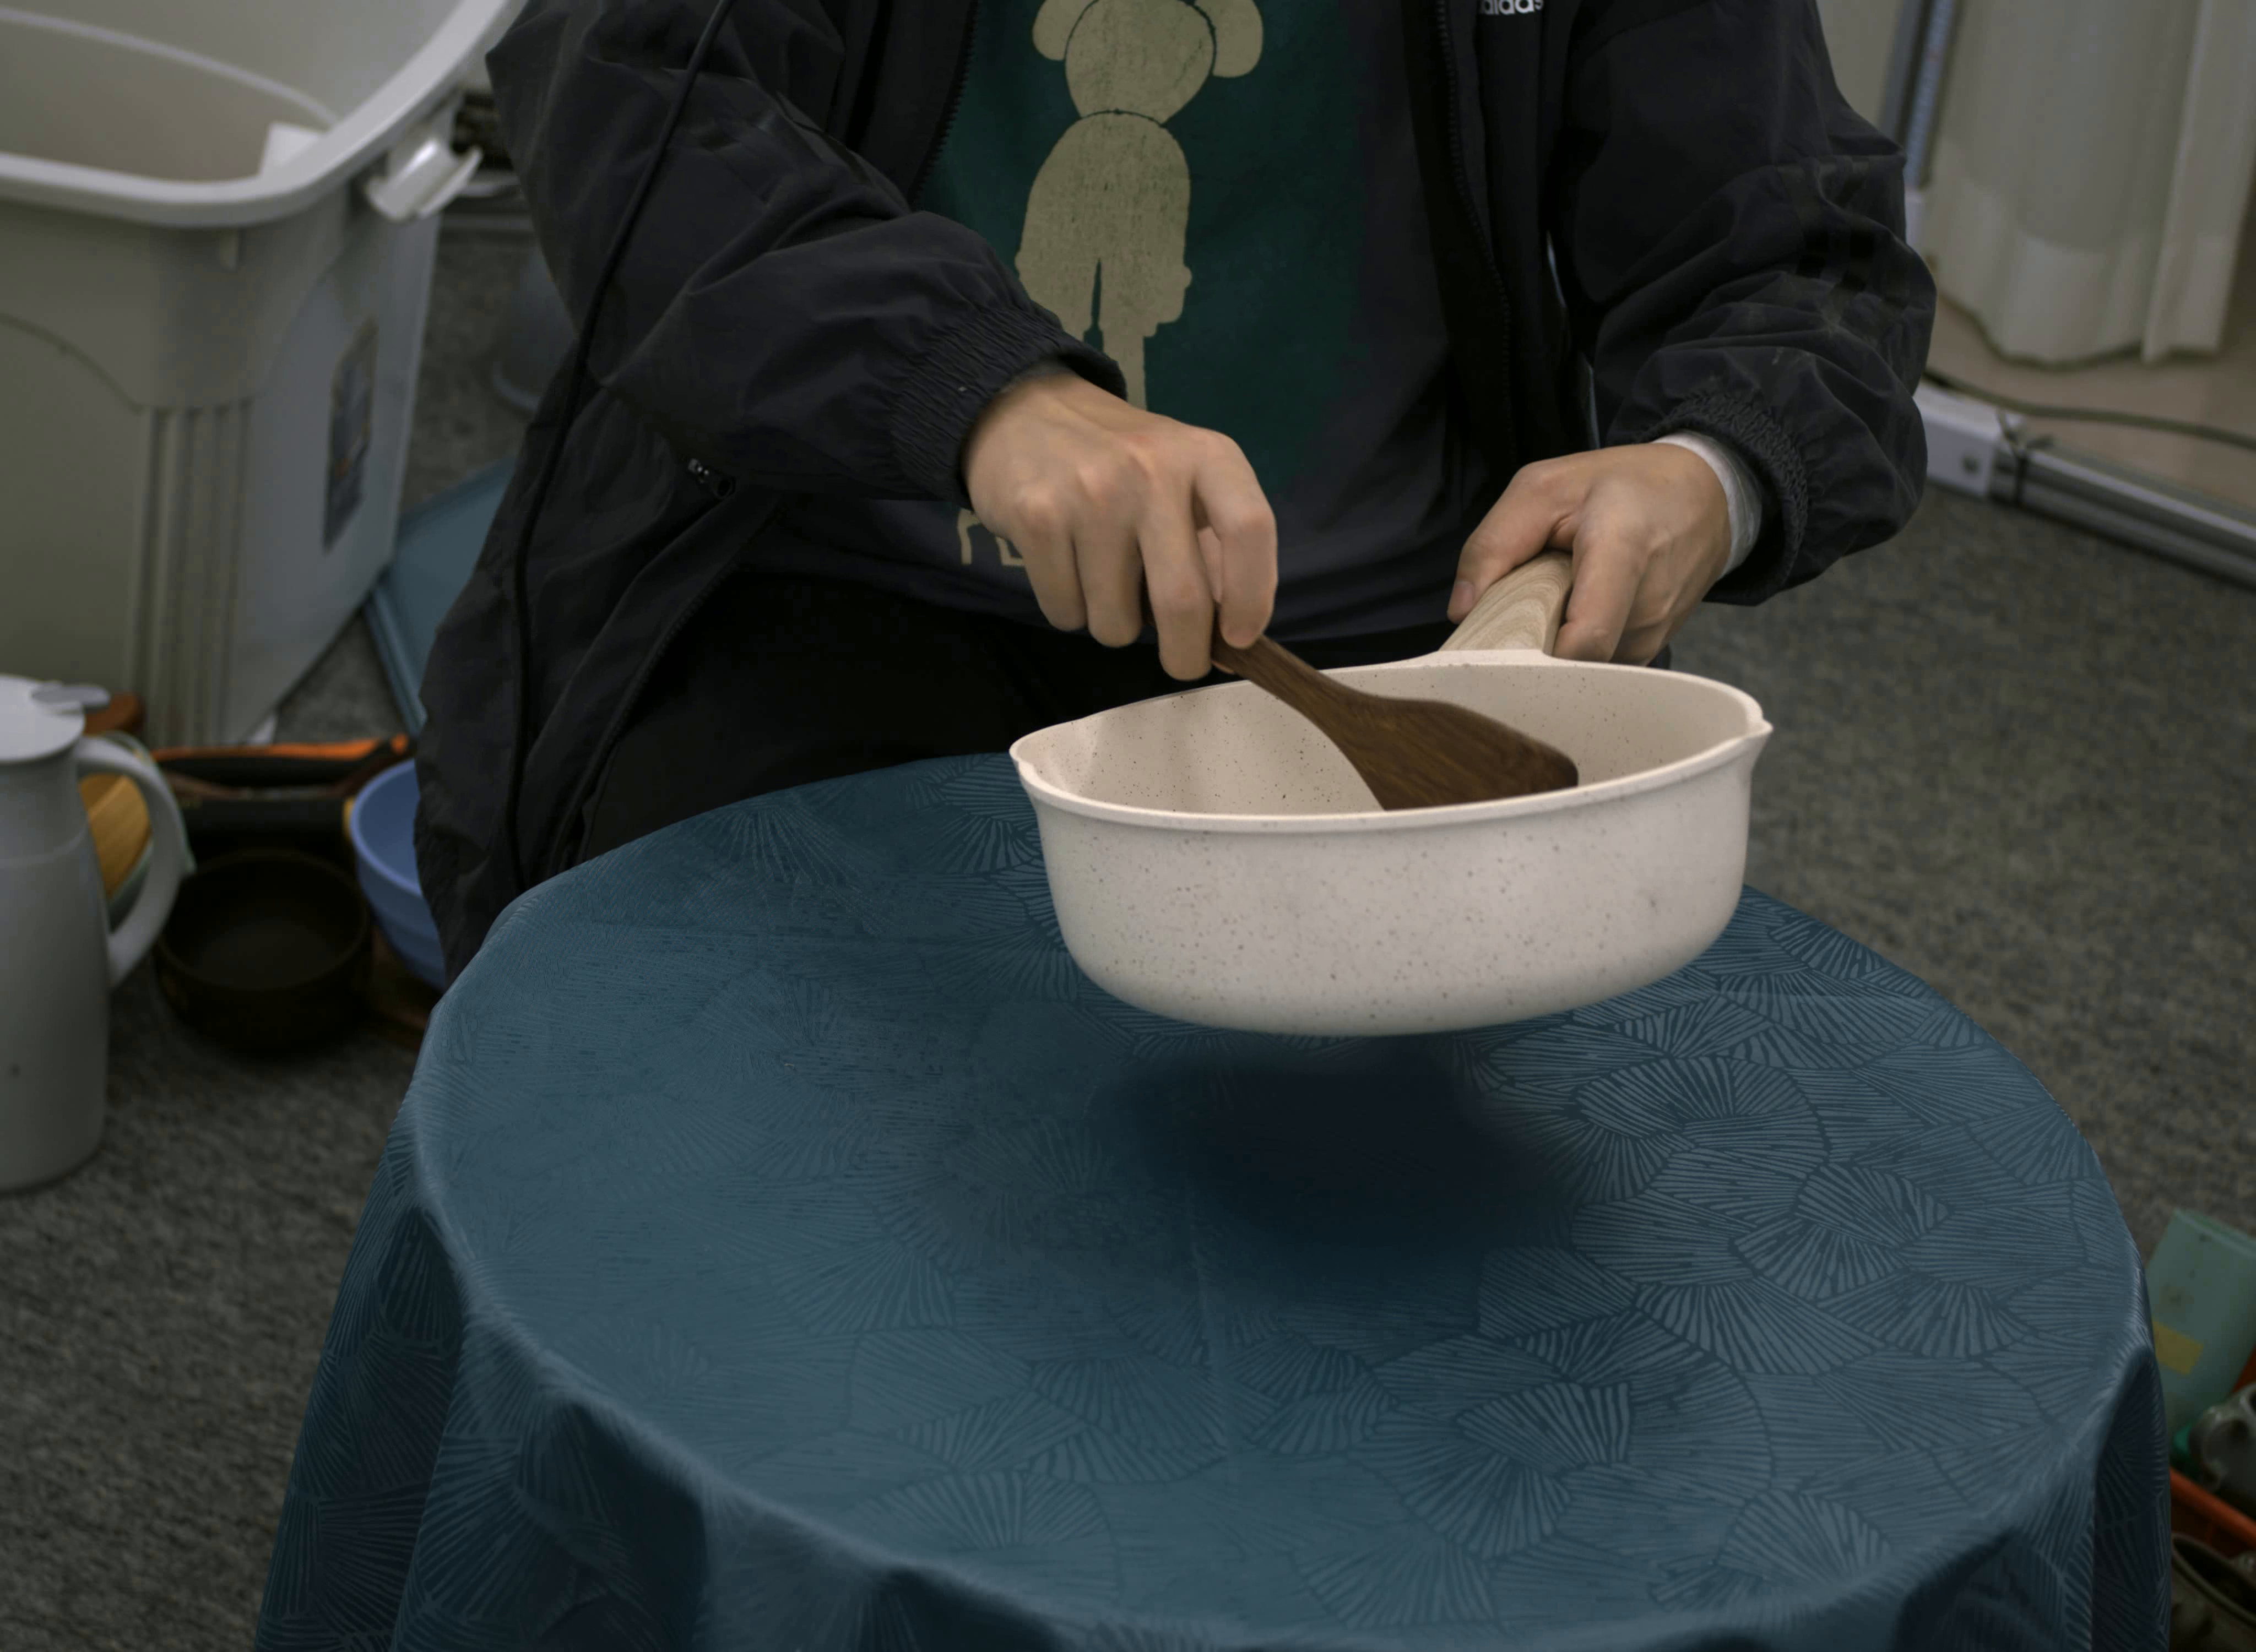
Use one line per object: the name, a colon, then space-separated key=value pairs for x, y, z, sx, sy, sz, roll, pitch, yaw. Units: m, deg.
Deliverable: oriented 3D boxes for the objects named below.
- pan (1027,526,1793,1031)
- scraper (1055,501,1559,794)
pan: x=0.122 y=-0.020 z=1.884 sx=0.263 sy=0.102 sz=0.434 roll=-2 pitch=12 yaw=18
scraper: x=0.058 y=-0.056 z=1.854 sx=0.212 sy=0.075 sz=0.011 roll=32 pitch=46 yaw=23
